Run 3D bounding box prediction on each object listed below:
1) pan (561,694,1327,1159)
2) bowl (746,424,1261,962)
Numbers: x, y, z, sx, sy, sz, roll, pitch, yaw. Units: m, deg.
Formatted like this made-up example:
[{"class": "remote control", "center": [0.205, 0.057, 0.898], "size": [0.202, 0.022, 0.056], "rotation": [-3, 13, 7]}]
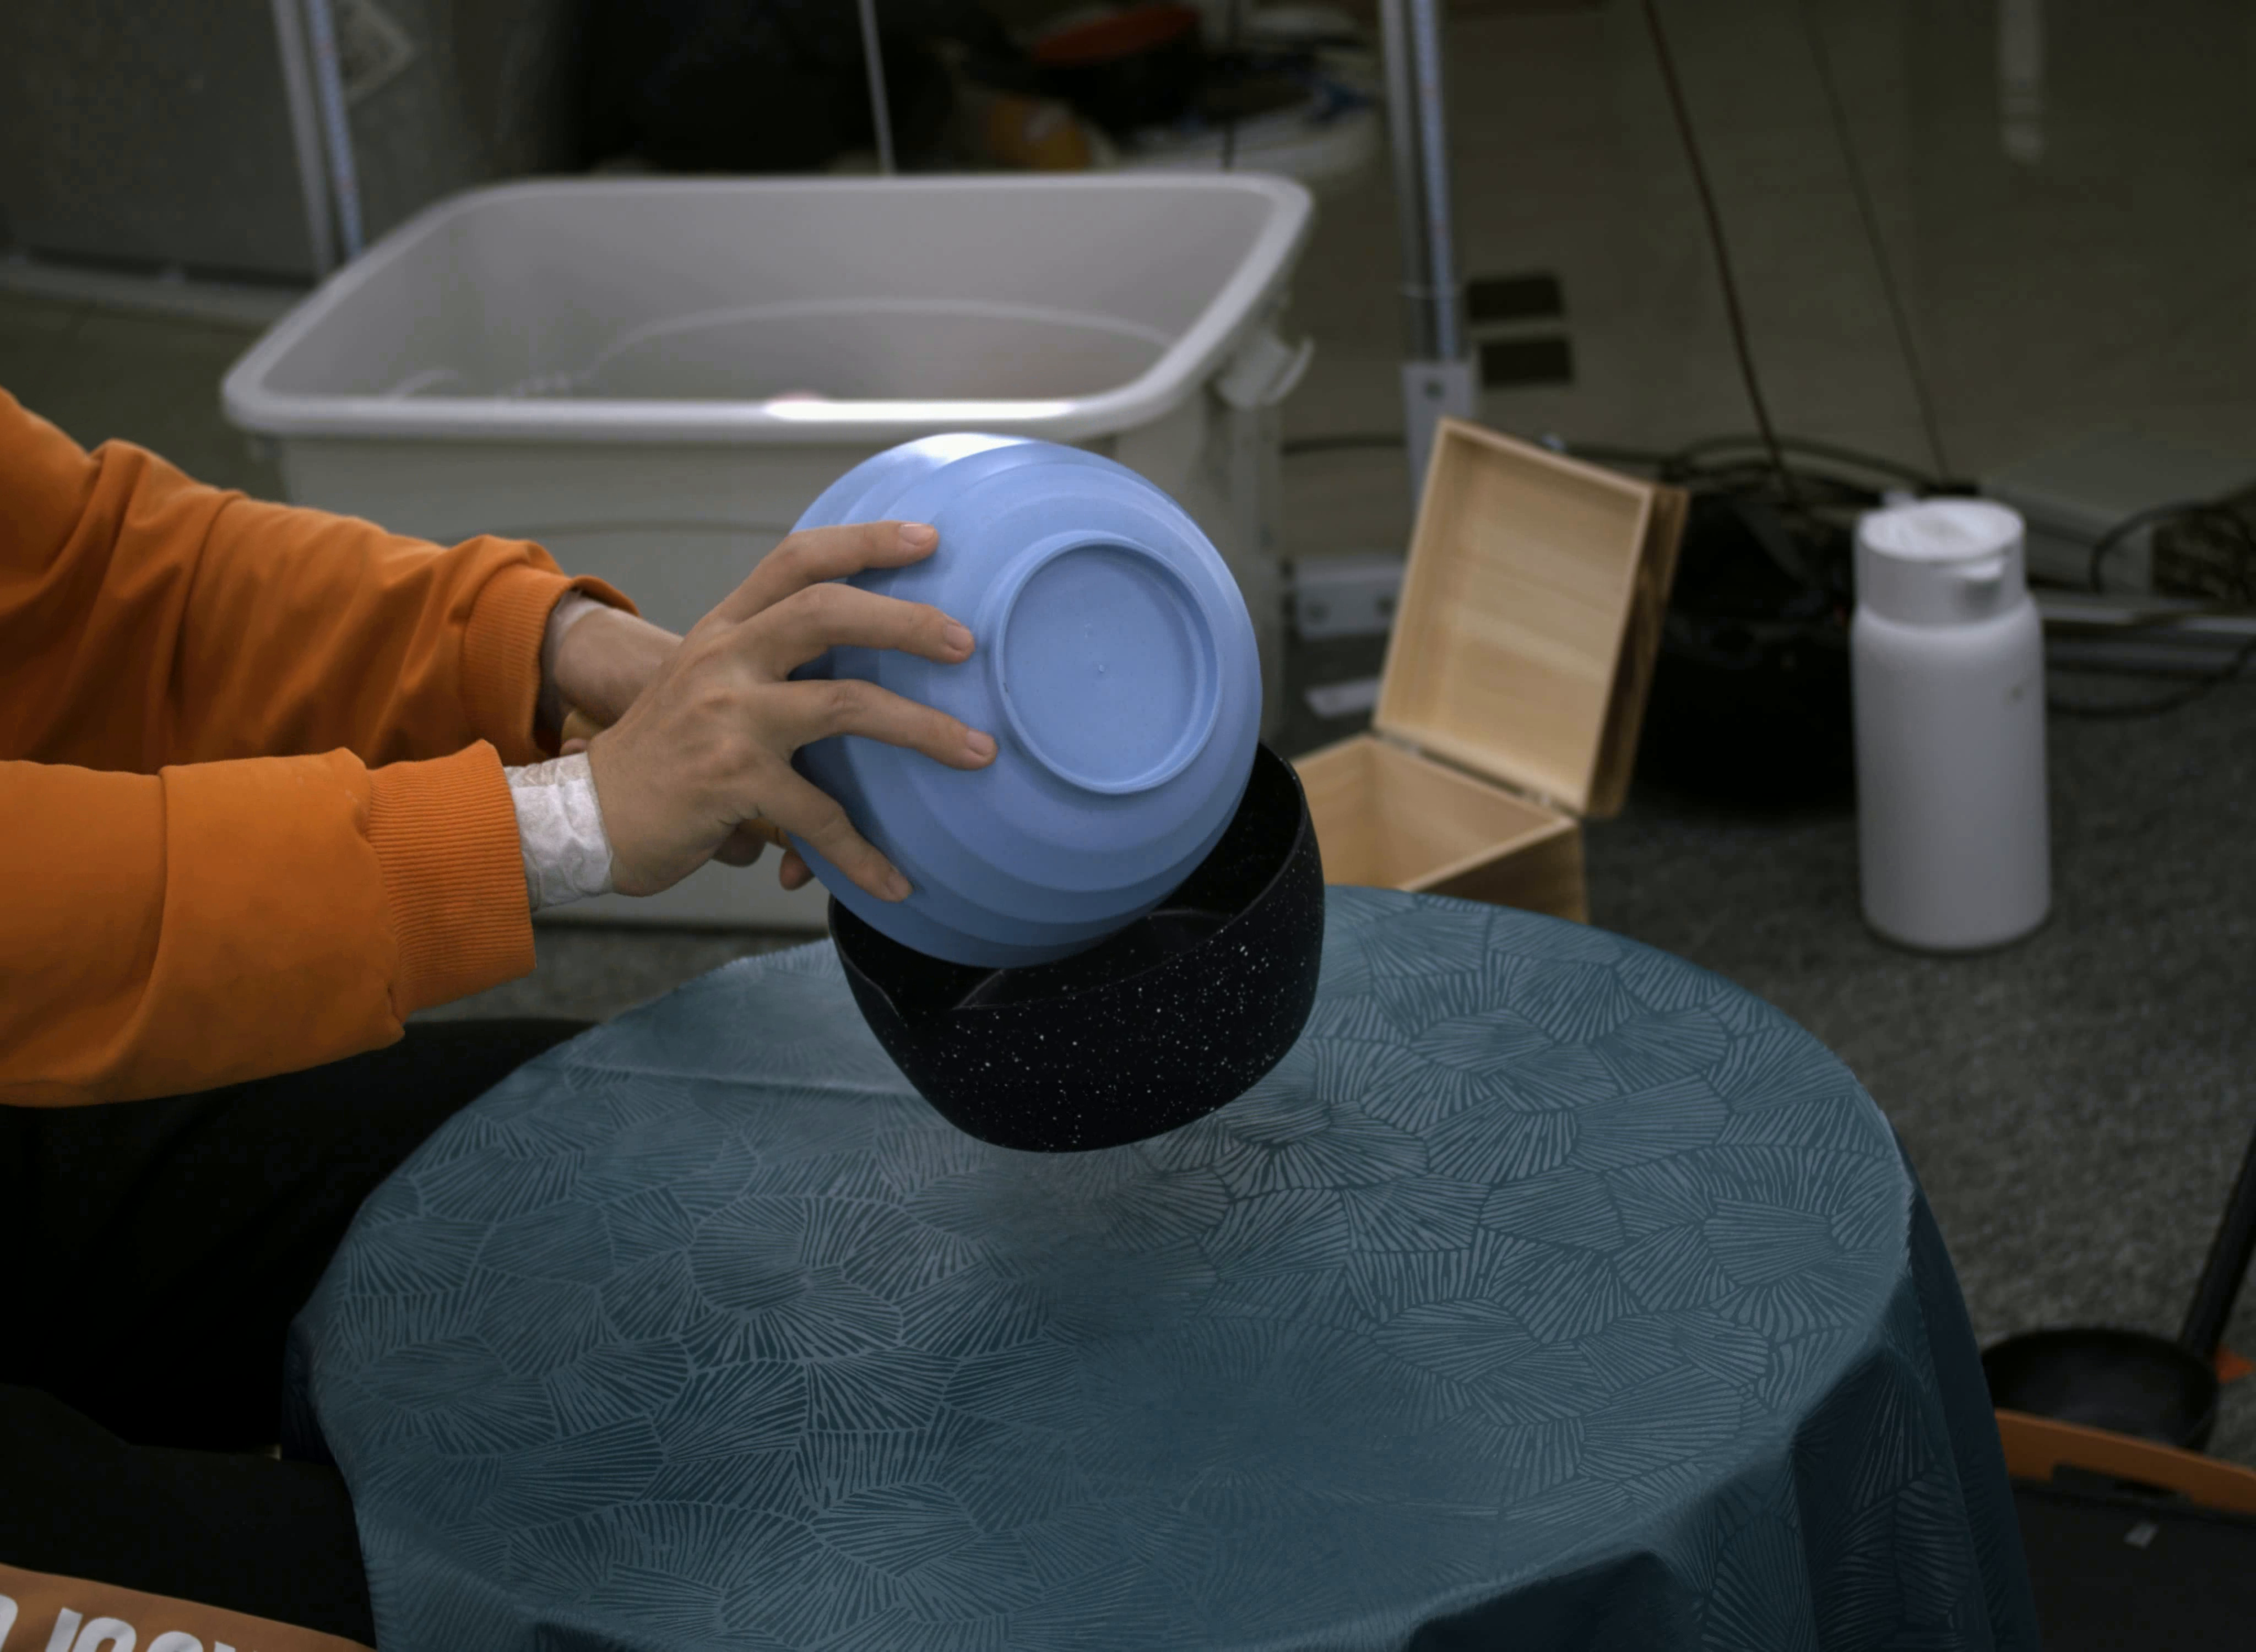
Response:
[{"class": "pan", "center": [-0.078, 0.024, 2.161], "size": [0.341, 0.110, 0.205], "rotation": [12, 44, 36]}, {"class": "bowl", "center": [-0.029, -0.052, 2.013], "size": [0.195, 0.197, 0.095], "rotation": [-21, 7, -28]}]
